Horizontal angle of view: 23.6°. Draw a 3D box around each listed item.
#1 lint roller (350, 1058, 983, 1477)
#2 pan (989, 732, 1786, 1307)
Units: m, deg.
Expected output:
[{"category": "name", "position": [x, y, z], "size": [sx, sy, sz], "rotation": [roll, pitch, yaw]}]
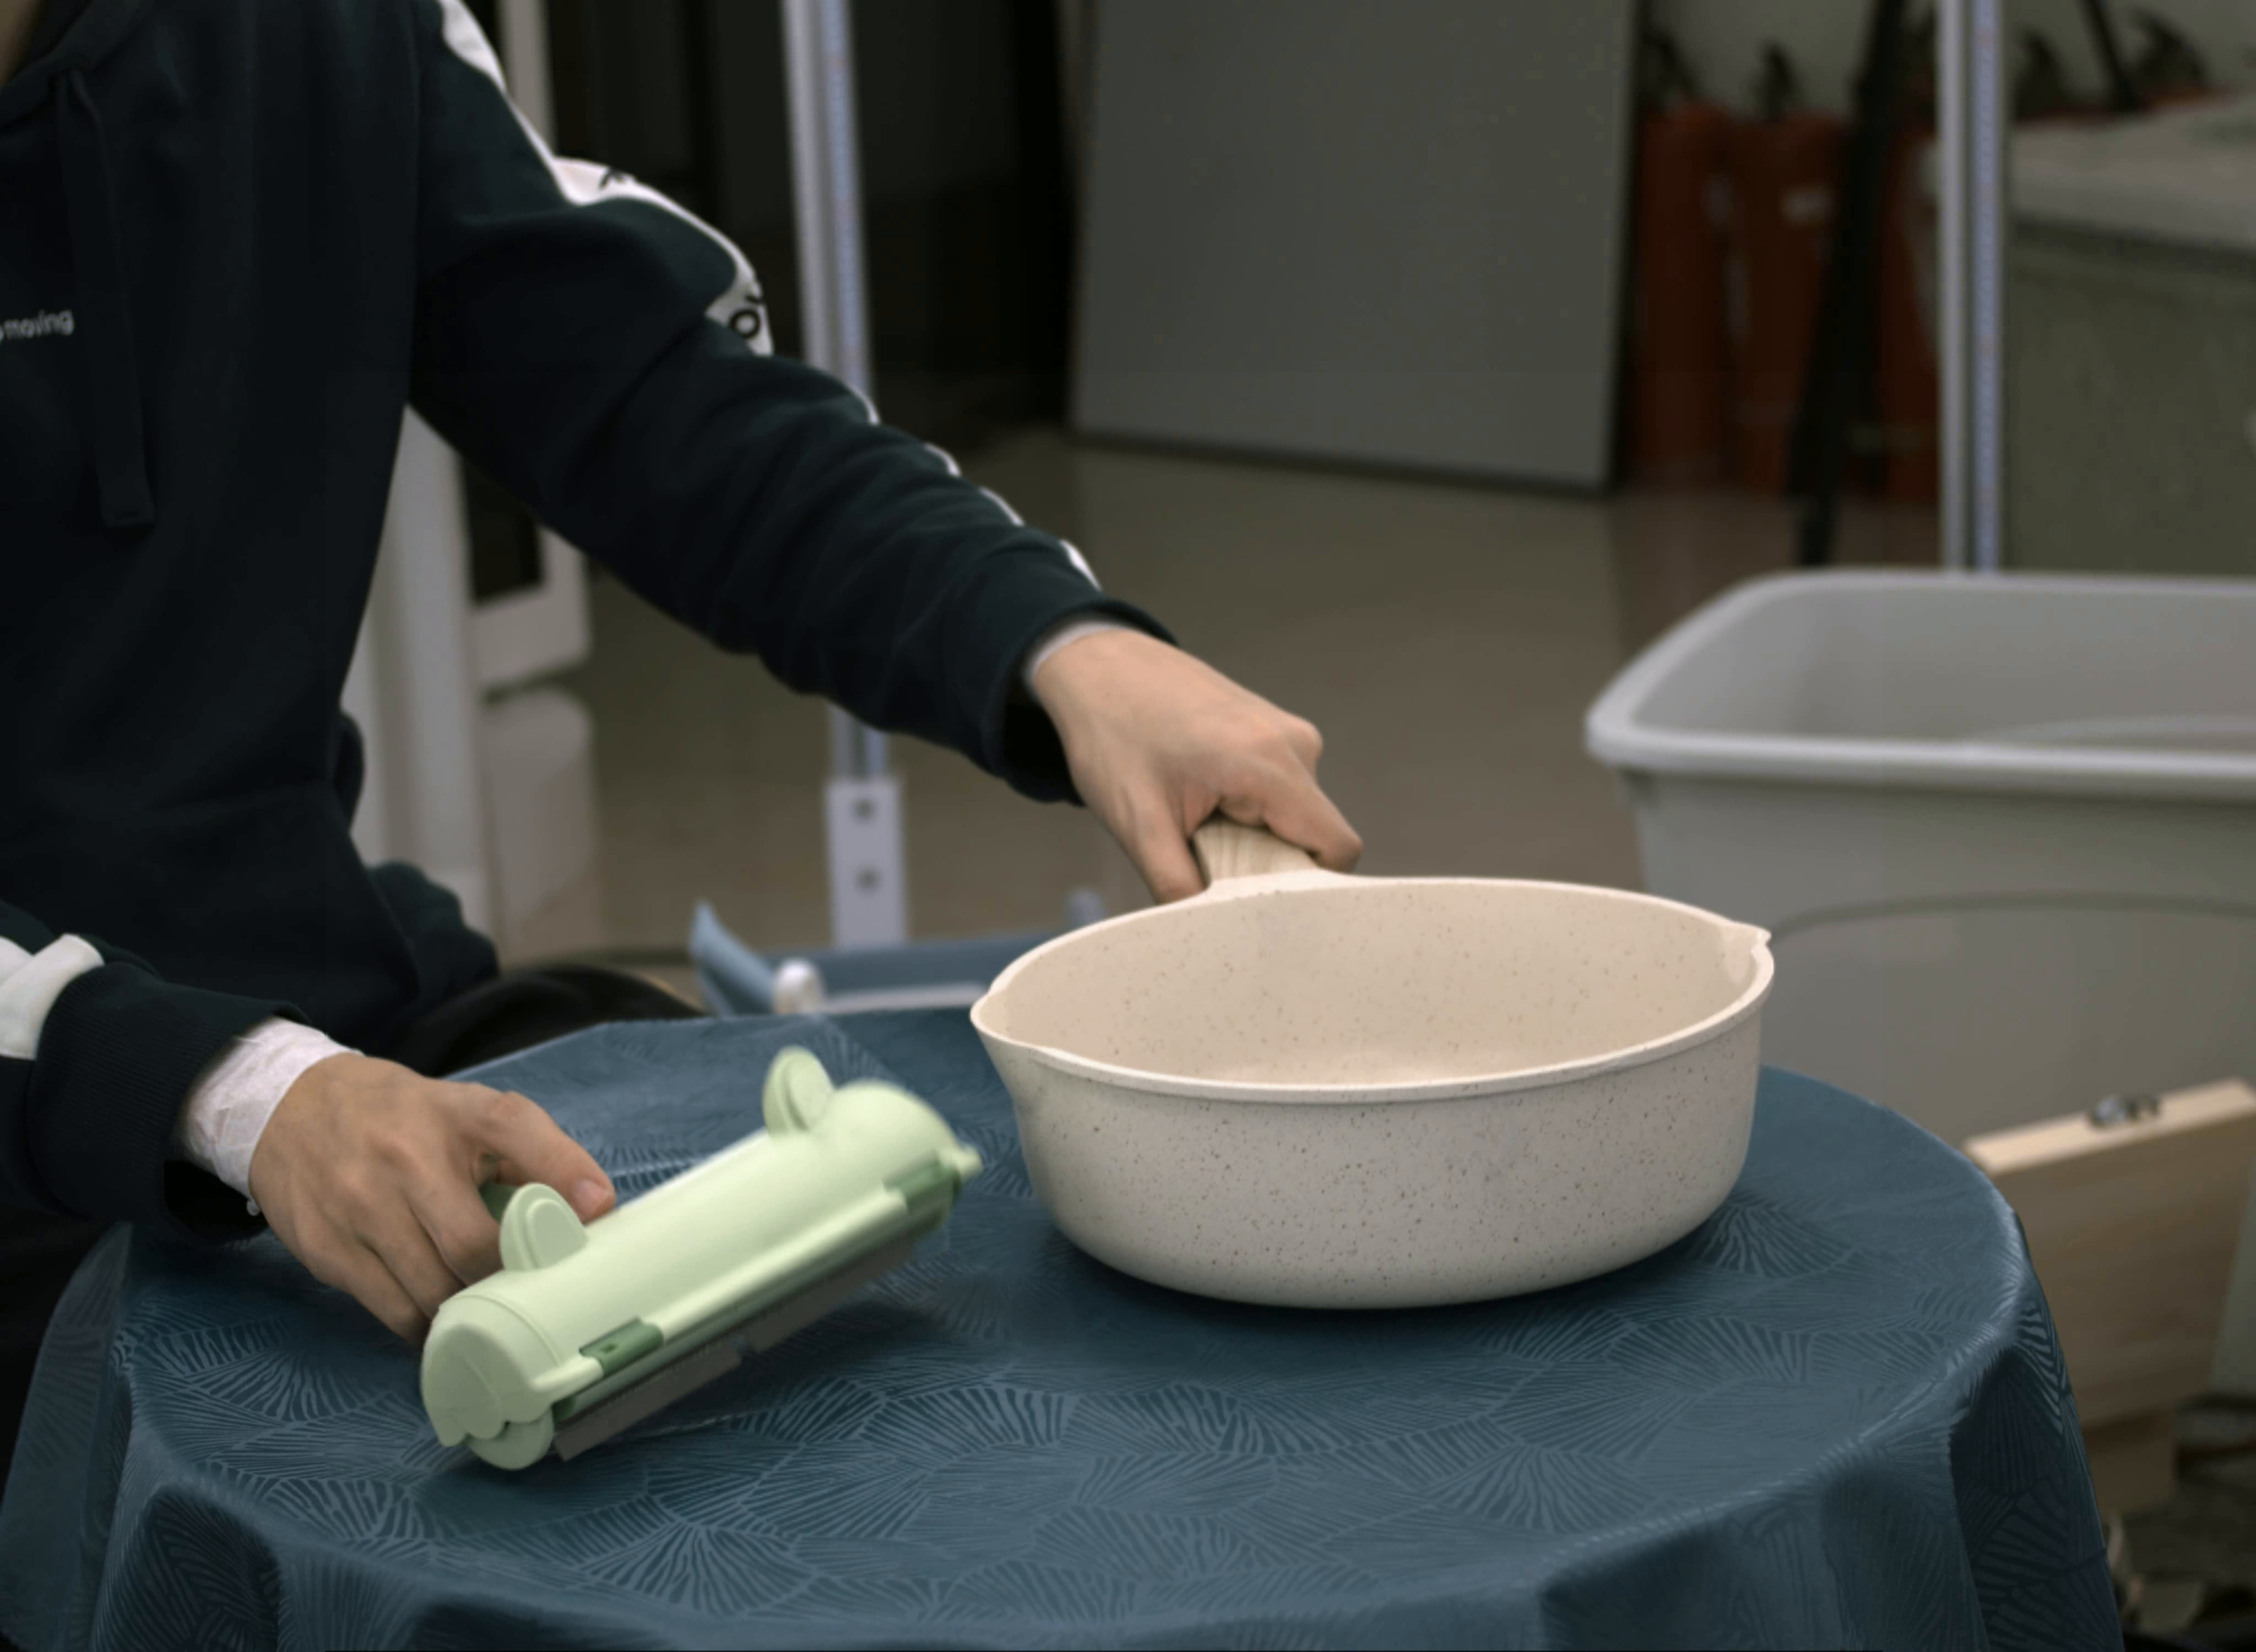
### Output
[{"category": "lint roller", "position": [-0.170, 0.116, 1.636], "size": [0.185, 0.083, 0.195], "rotation": [16, 27, 36]}, {"category": "pan", "position": [0.065, 0.059, 1.798], "size": [0.258, 0.103, 0.438], "rotation": [-8, 13, -11]}]
